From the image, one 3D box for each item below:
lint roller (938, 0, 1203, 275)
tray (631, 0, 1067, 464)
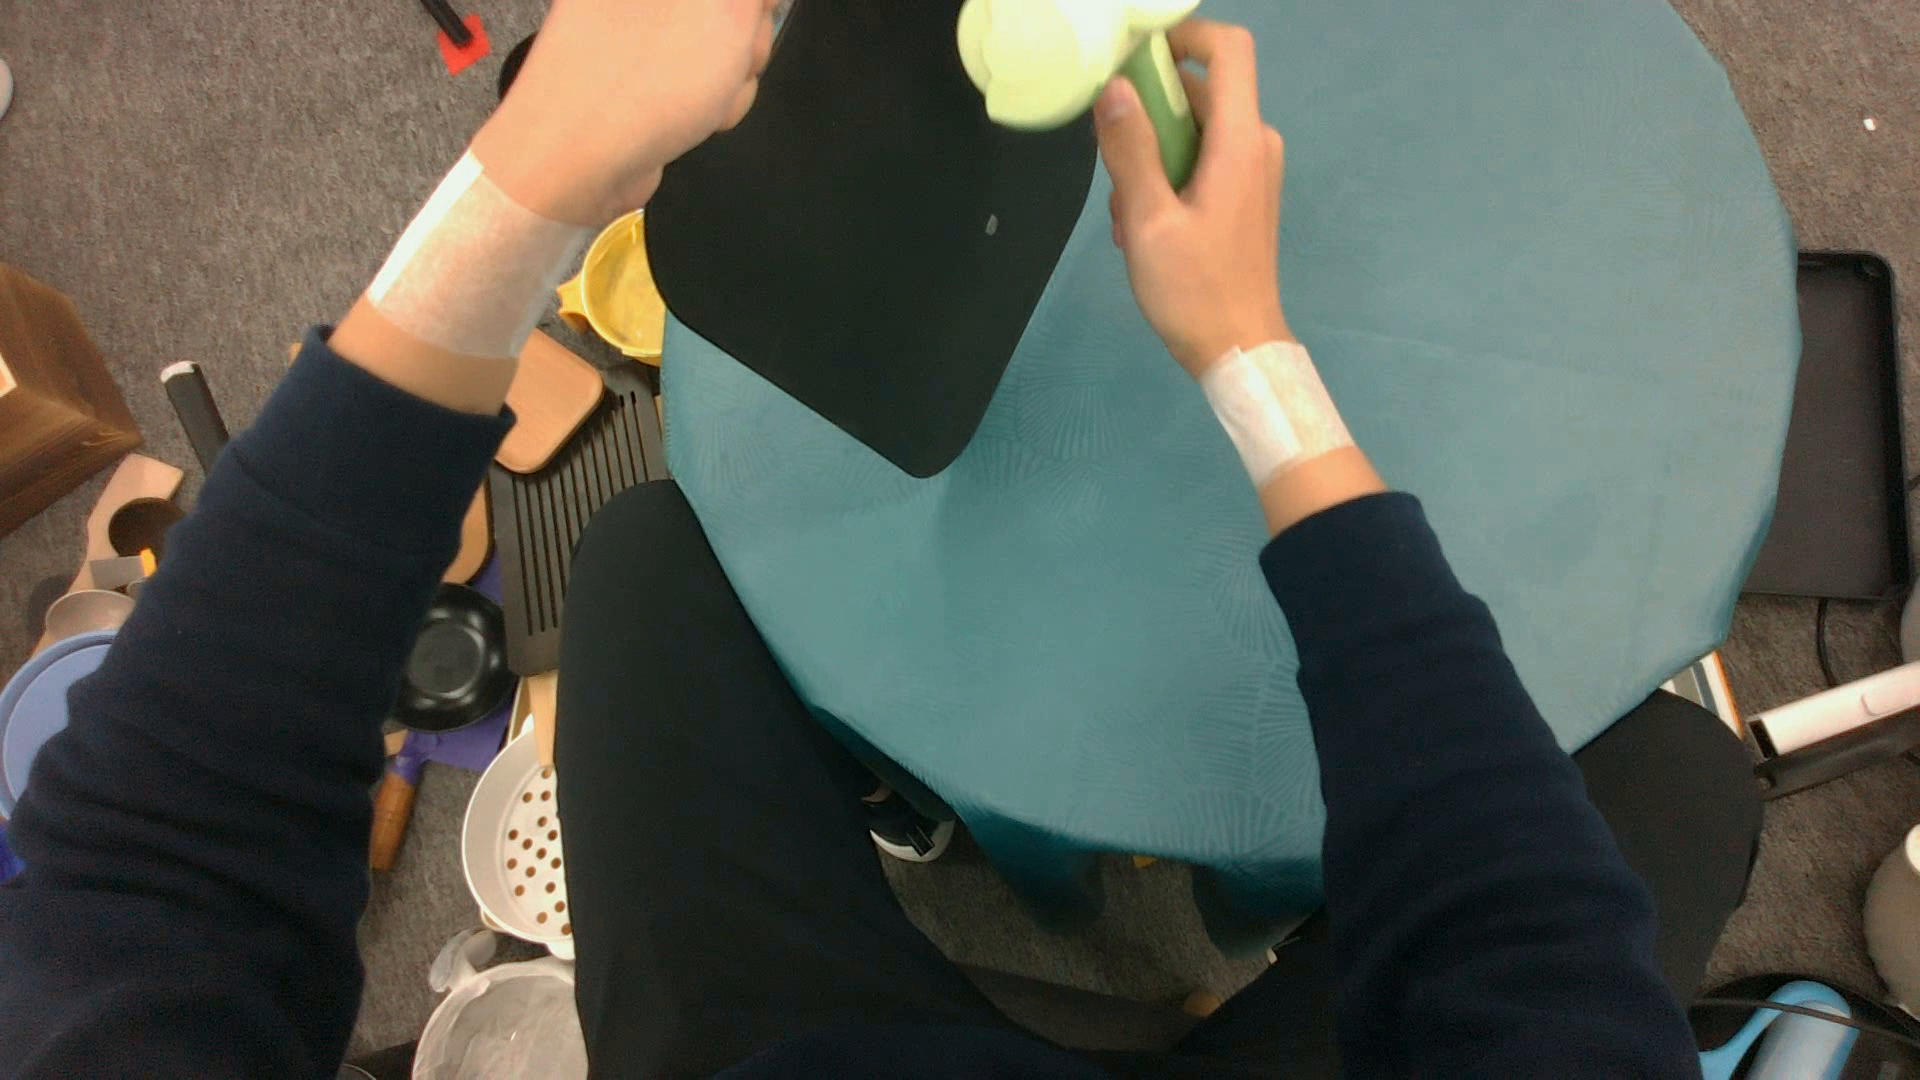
[{"bbox_3d":[0.078,-0.190,0.538,0.082,0.183,0.199,-10,35,34],"label":"lint roller"},{"bbox_3d":[-0.029,-0.157,0.589,0.010,0.325,0.211,23,88,22],"label":"tray"}]
